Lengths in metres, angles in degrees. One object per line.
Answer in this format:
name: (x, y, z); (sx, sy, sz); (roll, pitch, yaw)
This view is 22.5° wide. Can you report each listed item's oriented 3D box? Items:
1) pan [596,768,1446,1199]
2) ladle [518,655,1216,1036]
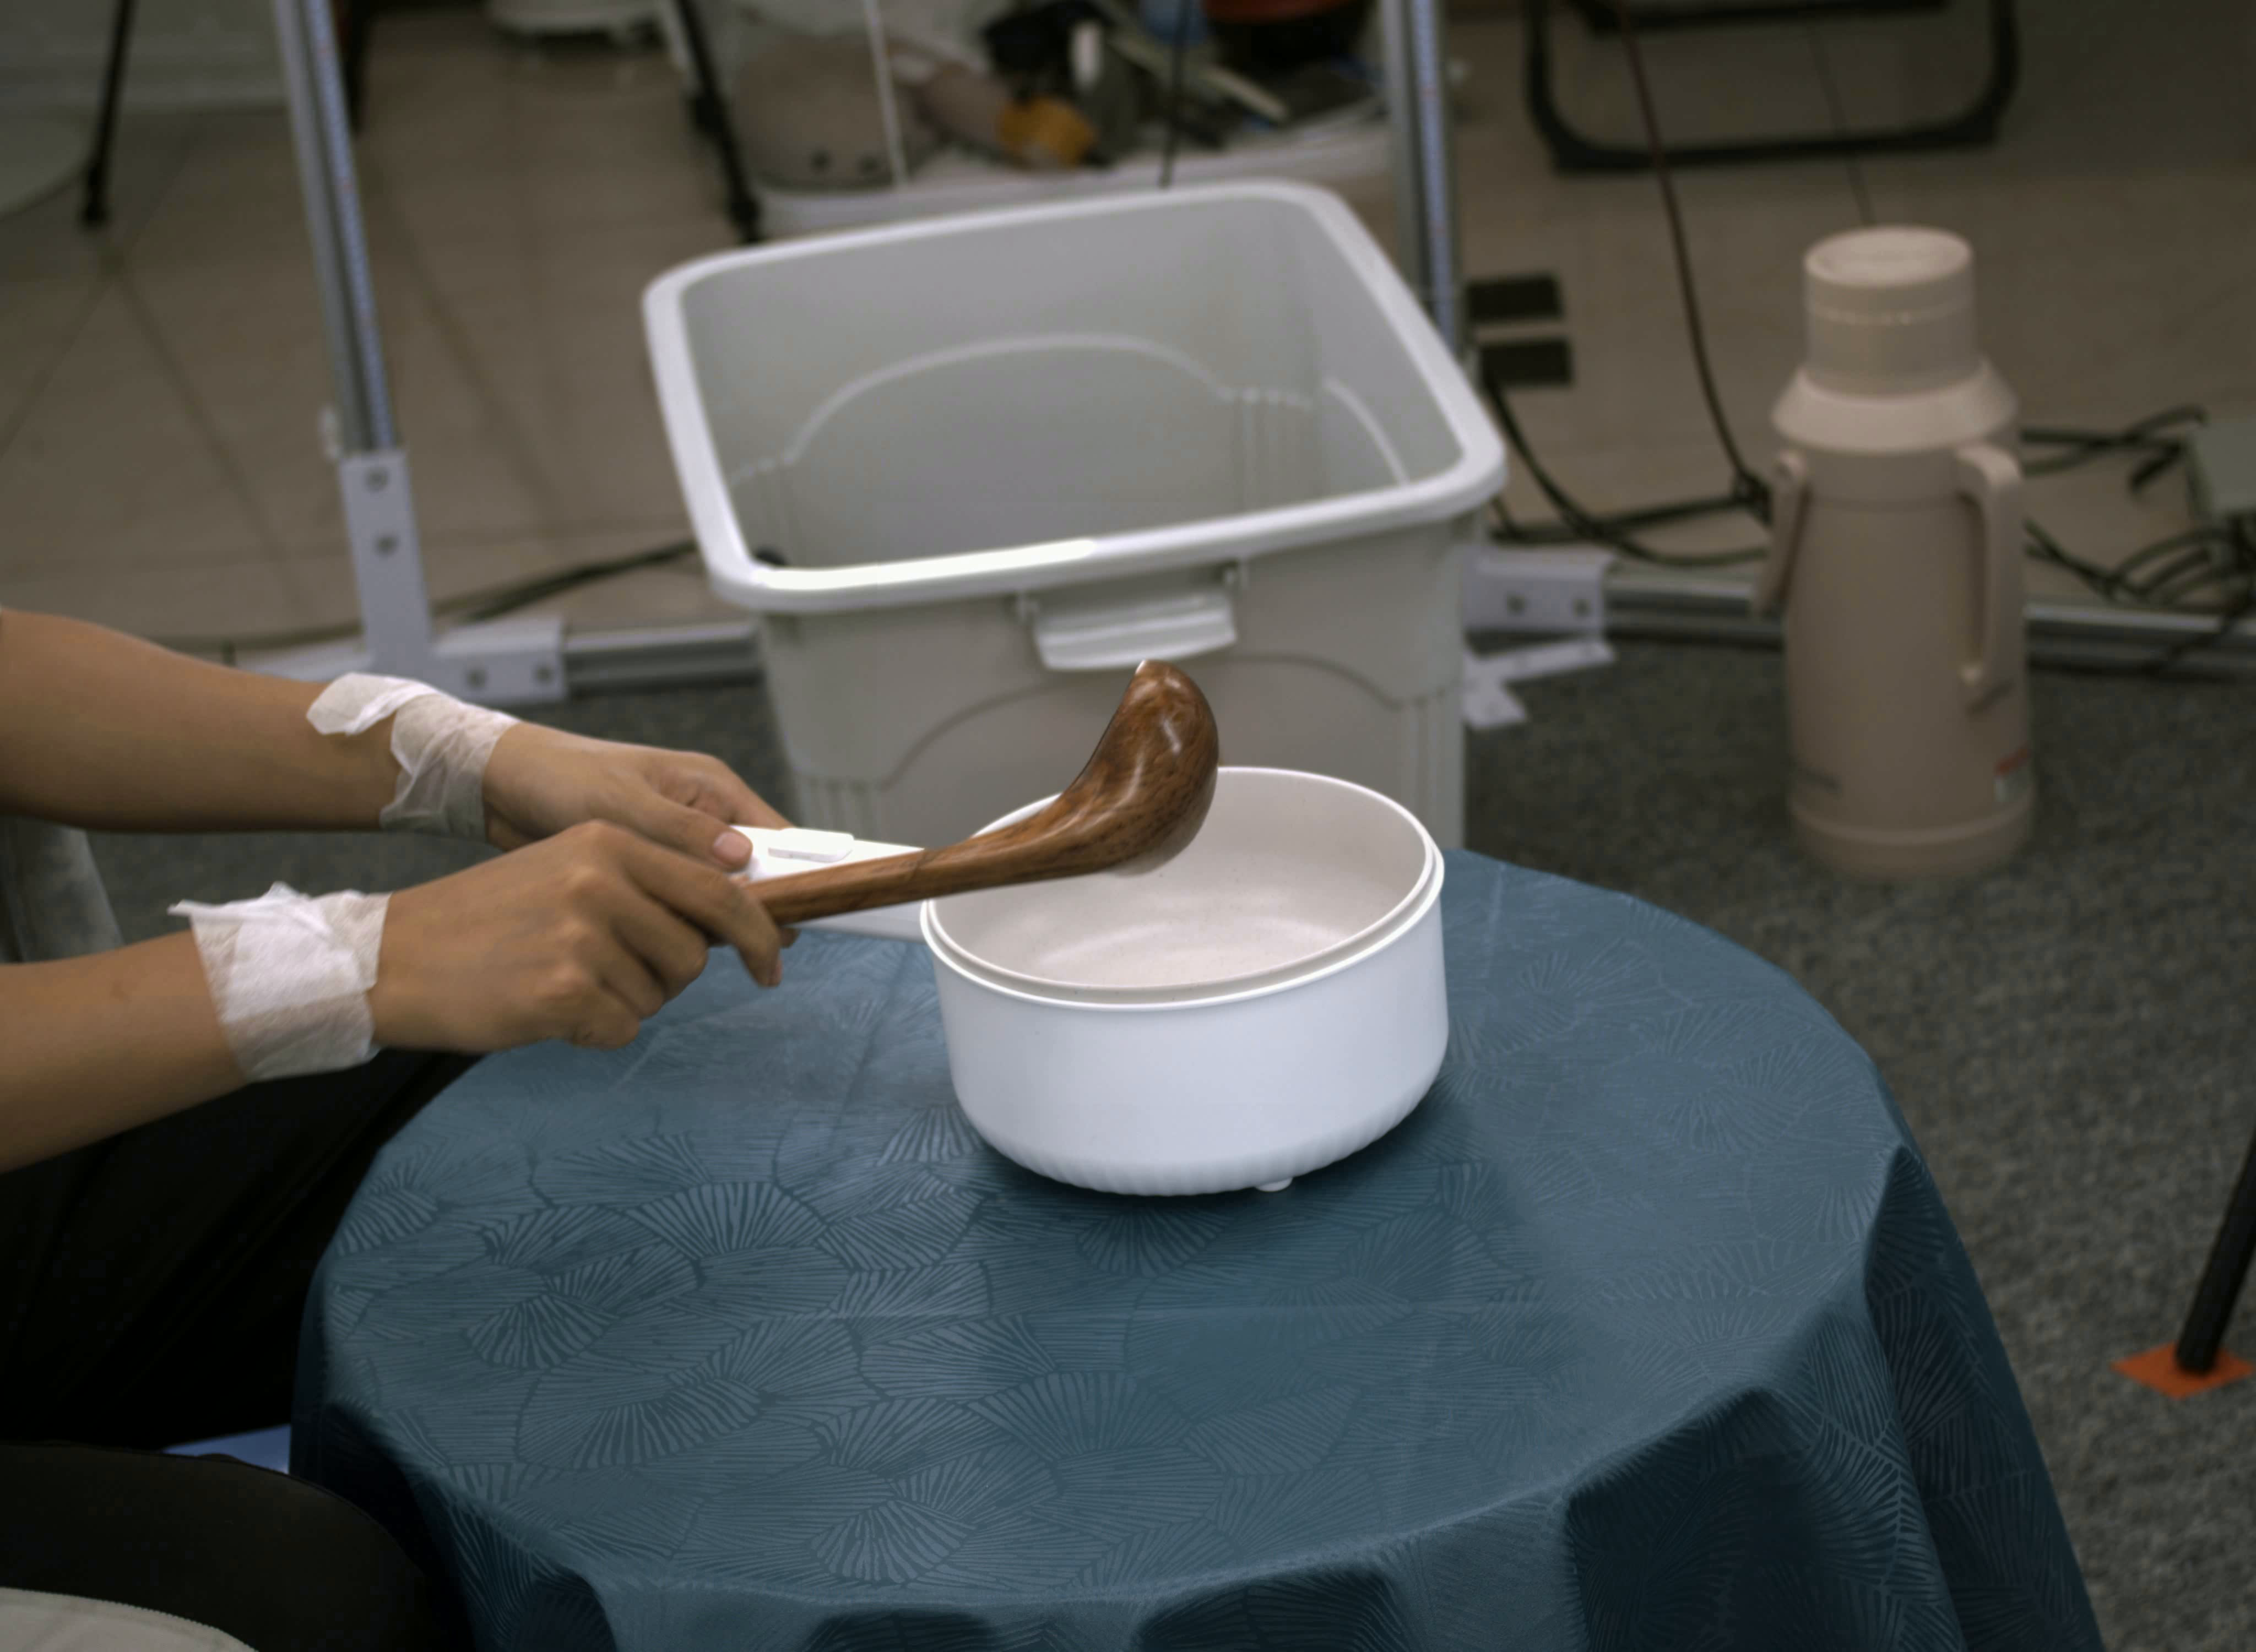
pan: (-0.045, 0.058, 2.219); (0.353, 0.104, 0.198); (6, 29, 26)
ladle: (-0.094, 0.008, 2.031); (0.273, 0.083, 0.075); (-16, 31, -10)
